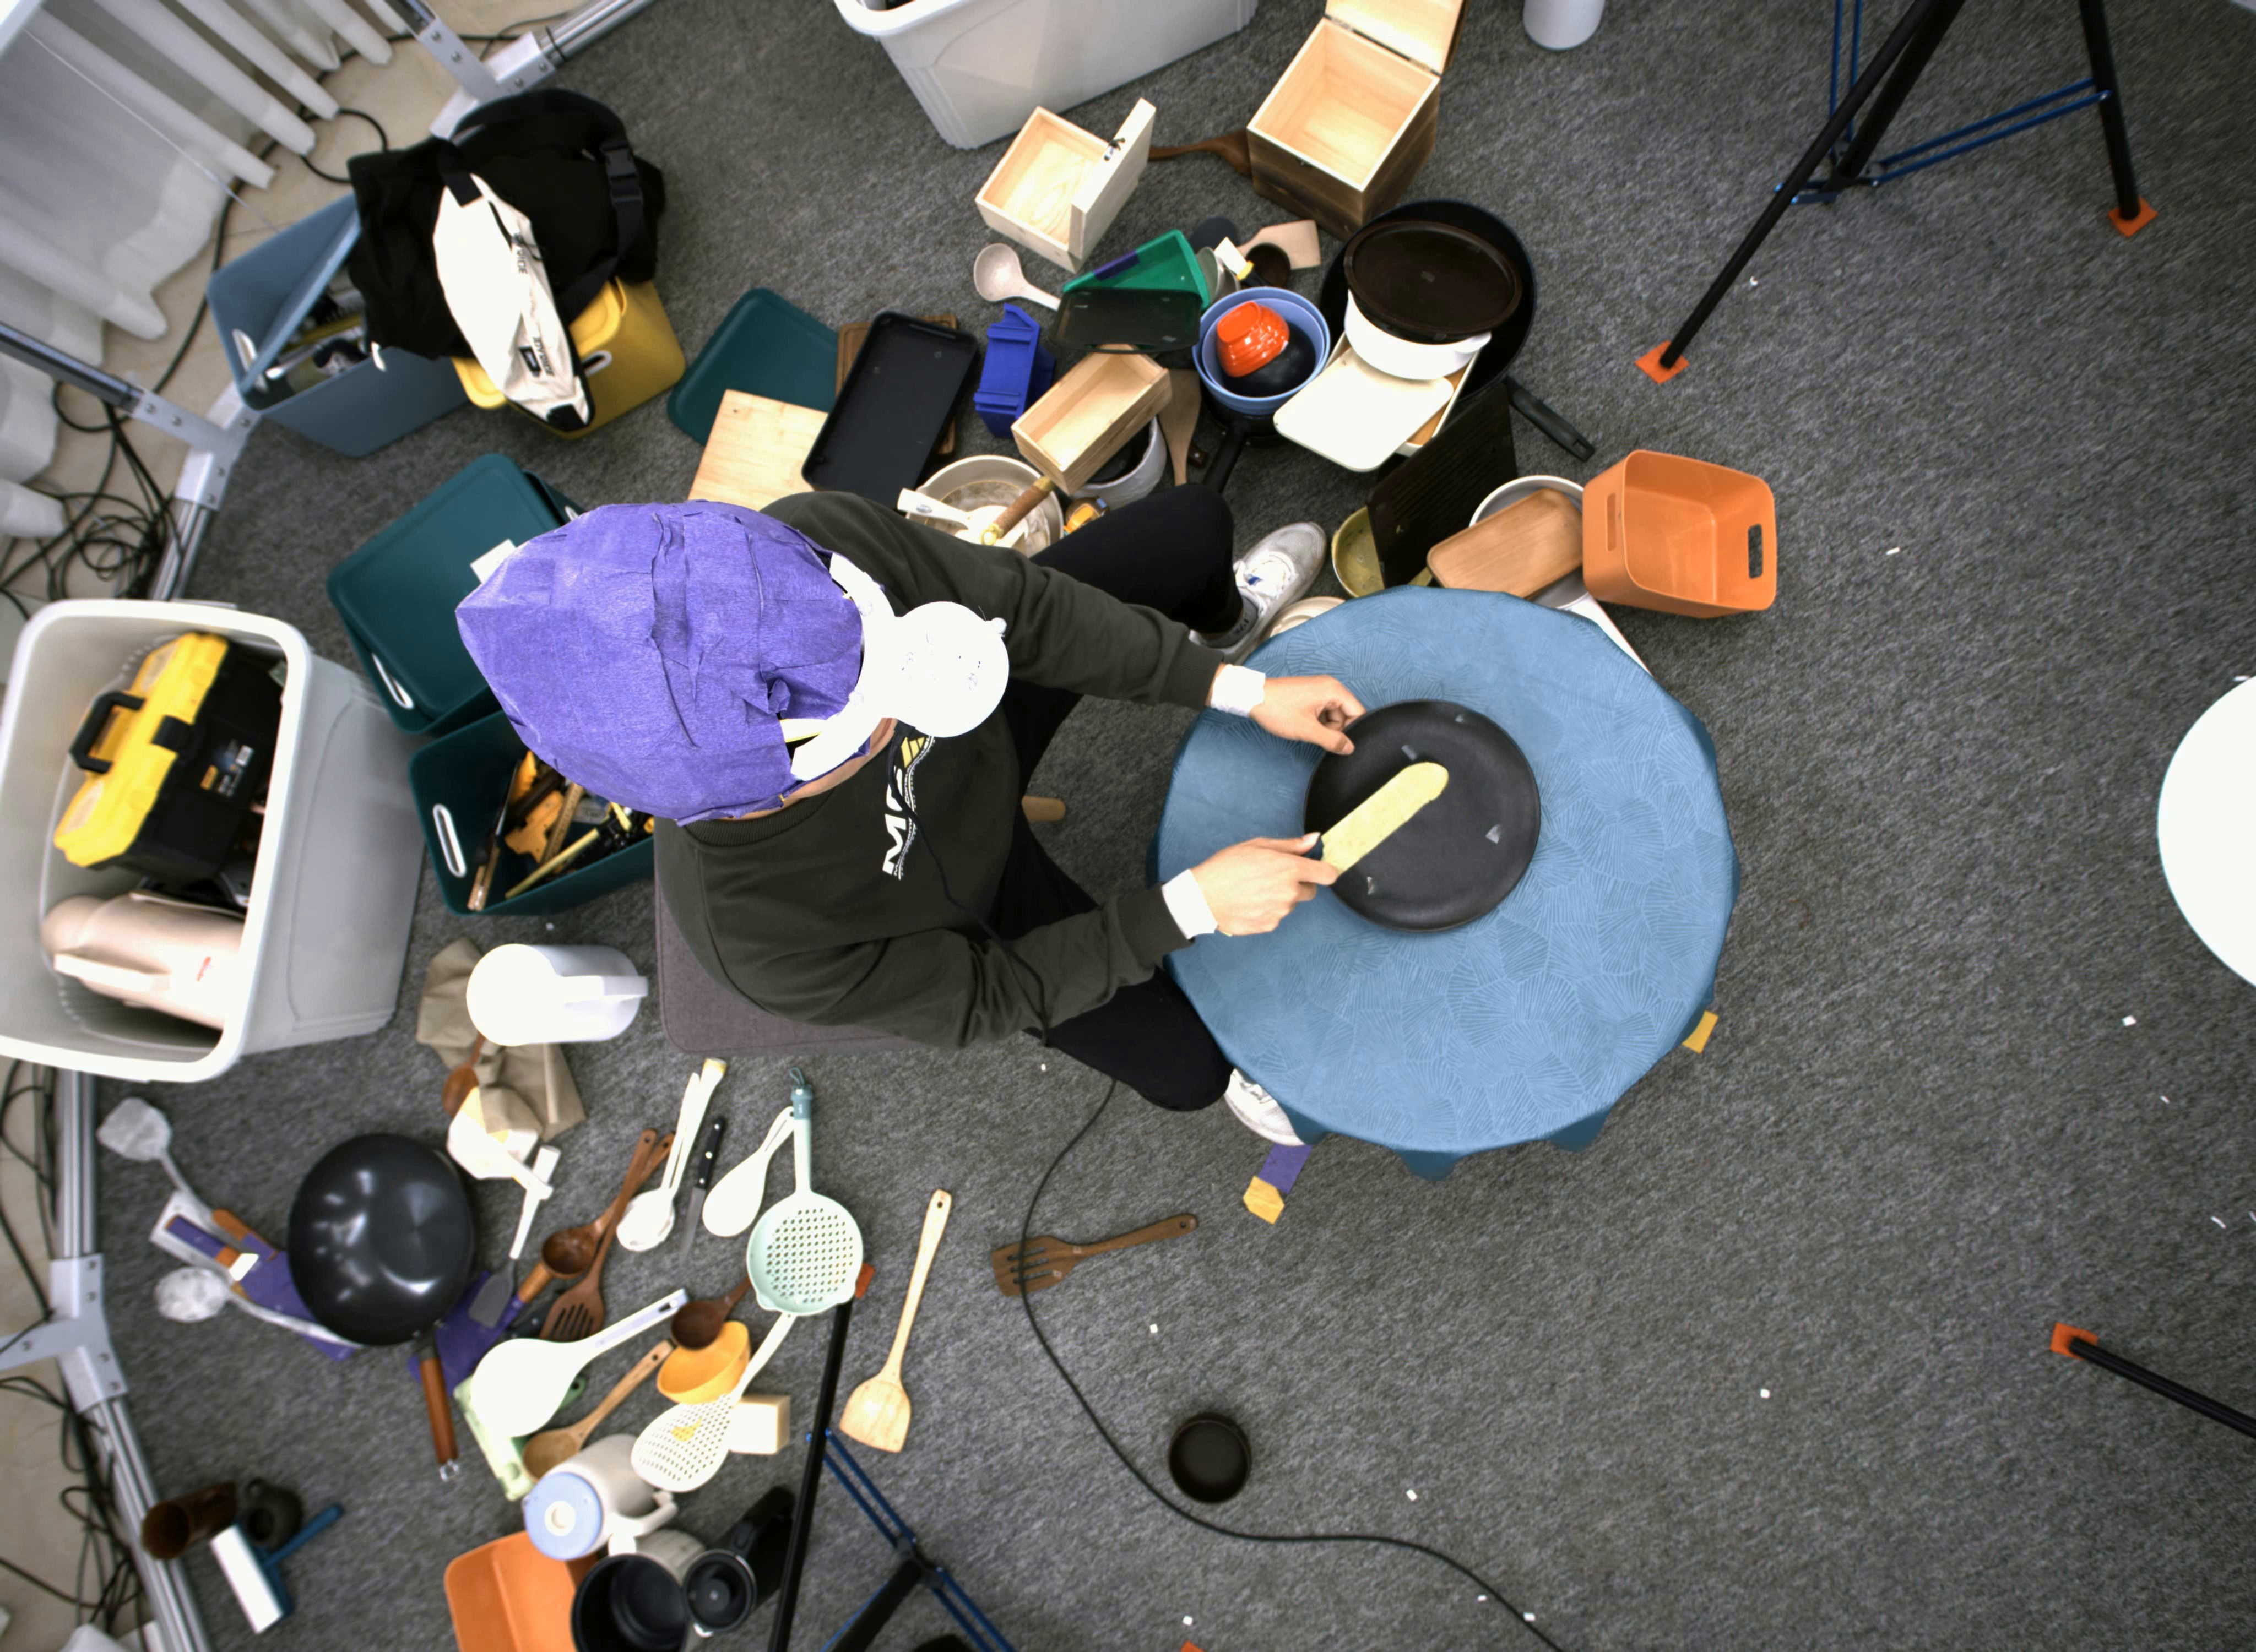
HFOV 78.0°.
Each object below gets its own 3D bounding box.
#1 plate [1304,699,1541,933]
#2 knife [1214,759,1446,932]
[{"bbox_3d":[0.303,-0.011,1.426,0.245,0.023,0.246,0,99,3],"label":"plate"},{"bbox_3d":[0.208,0.021,1.394,0.289,0.082,0.027,-36,47,-3],"label":"knife"}]
